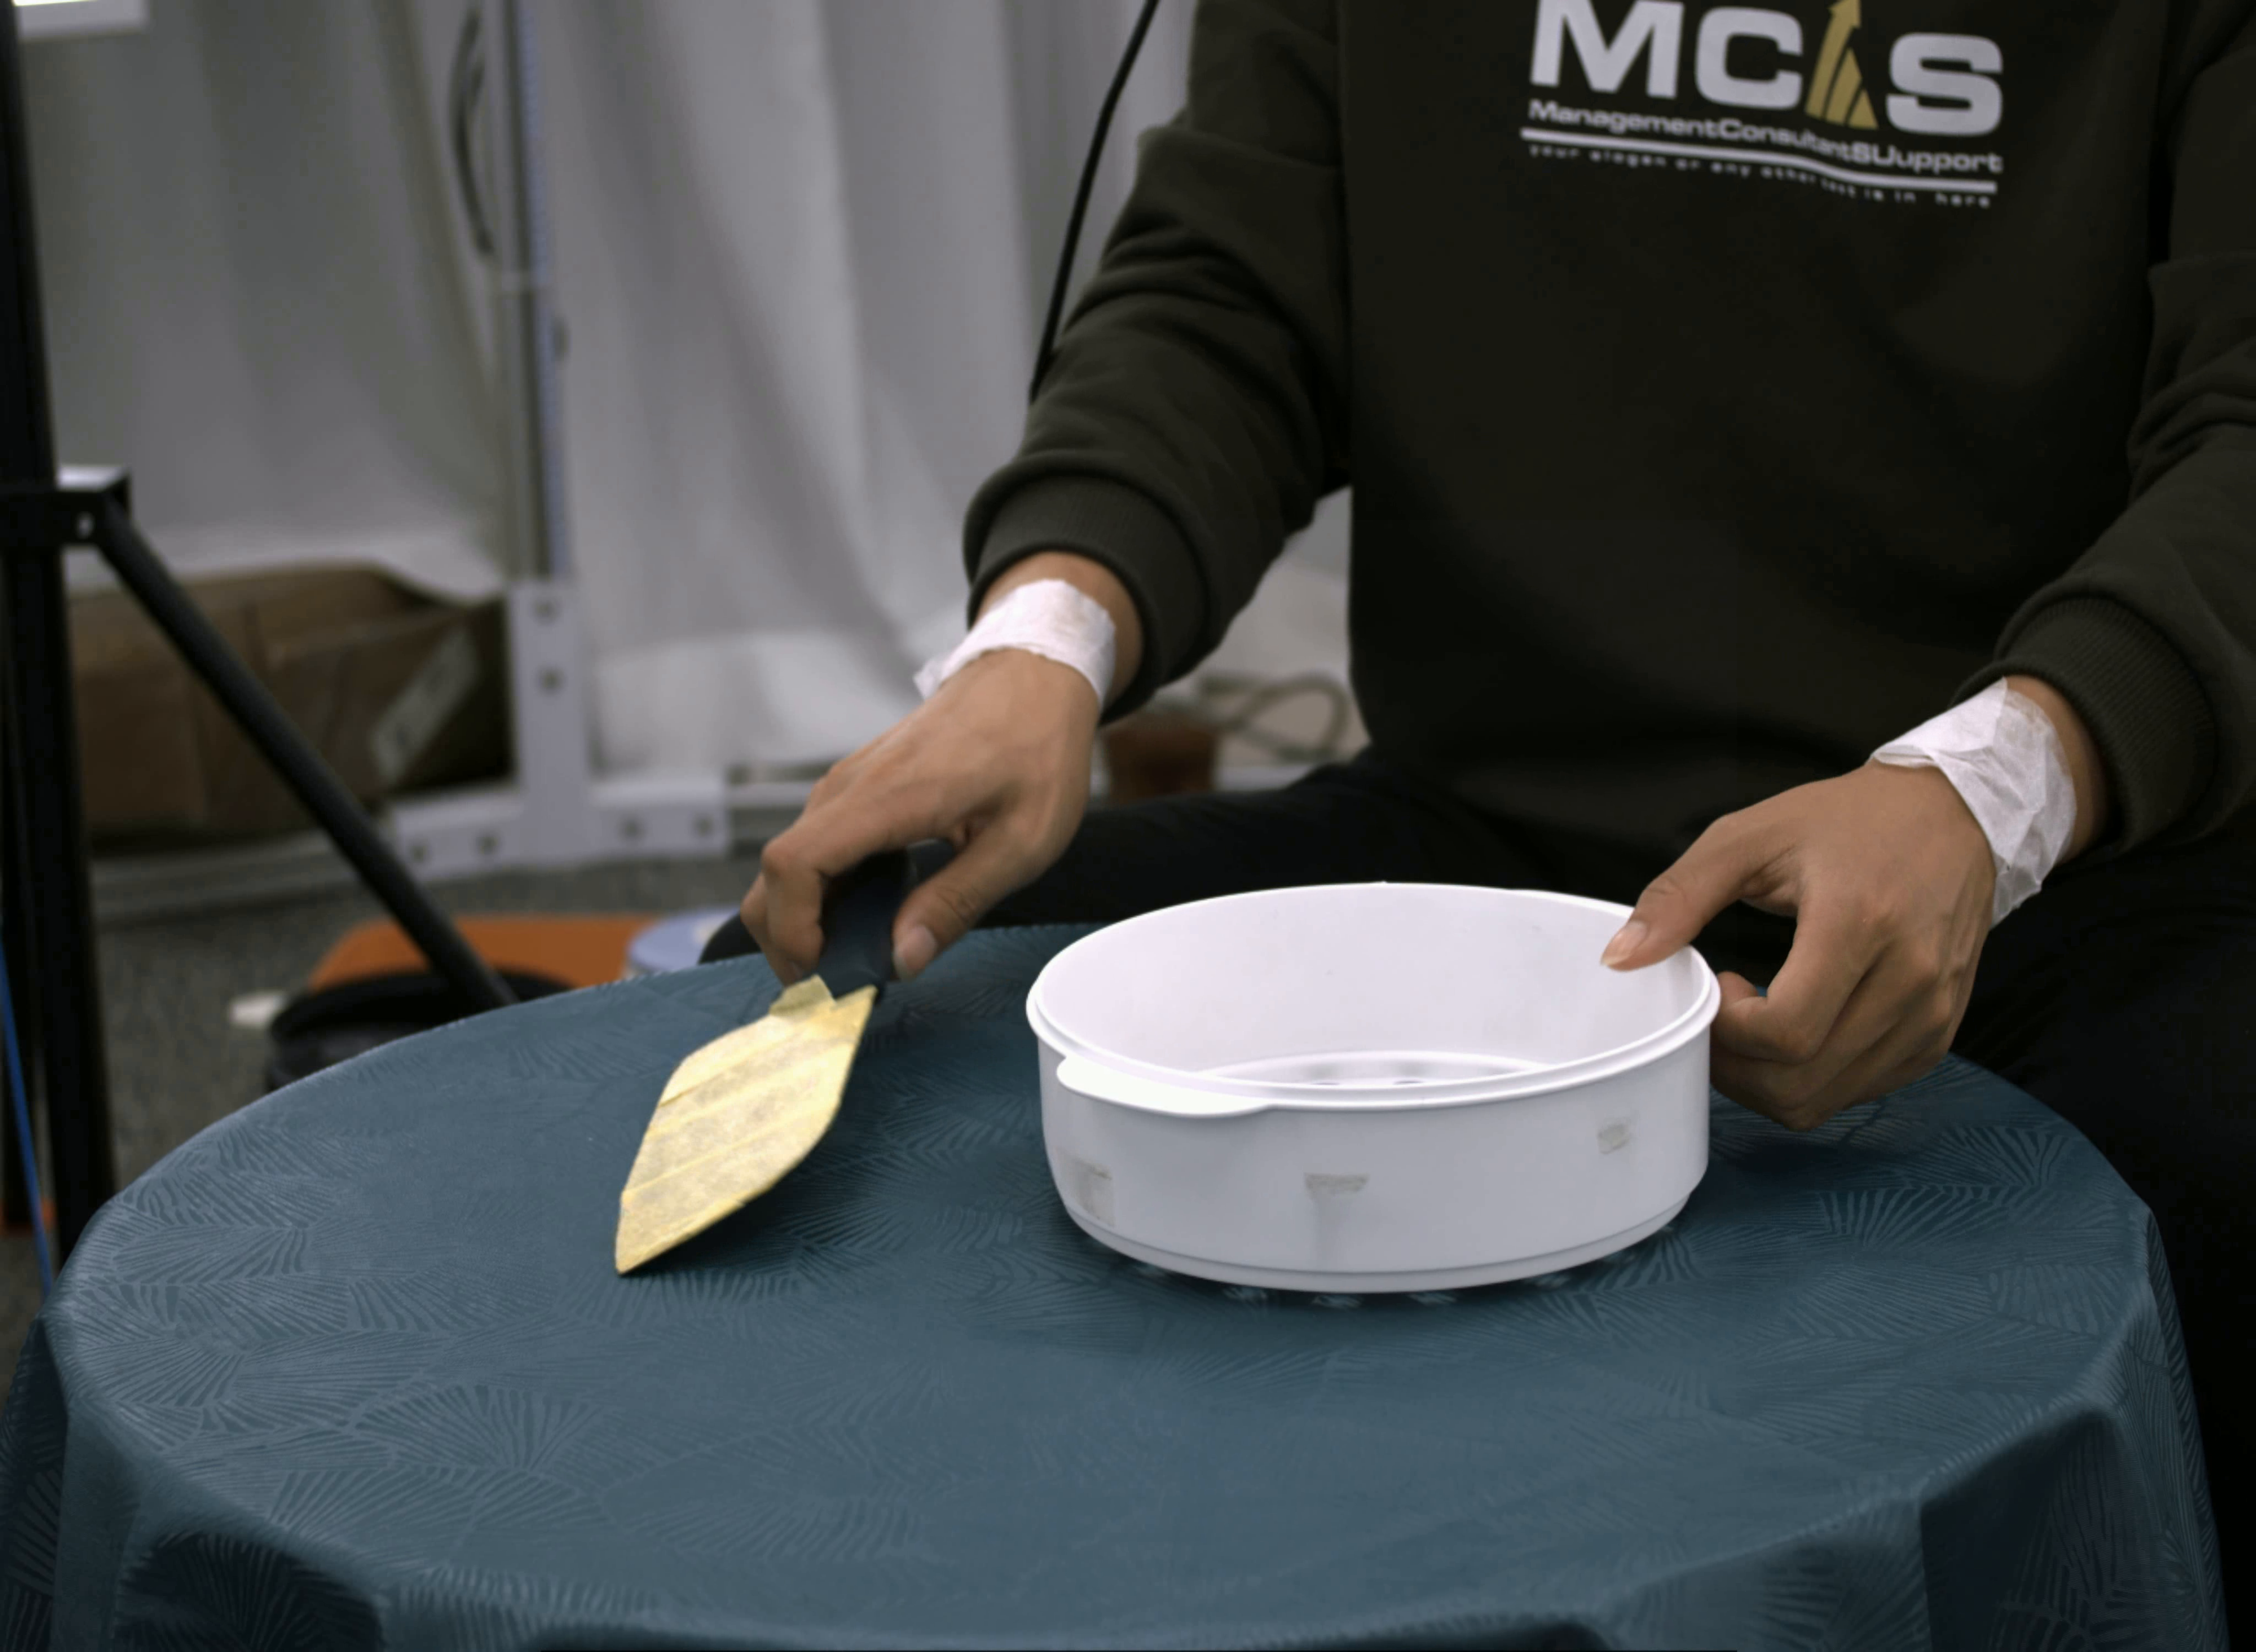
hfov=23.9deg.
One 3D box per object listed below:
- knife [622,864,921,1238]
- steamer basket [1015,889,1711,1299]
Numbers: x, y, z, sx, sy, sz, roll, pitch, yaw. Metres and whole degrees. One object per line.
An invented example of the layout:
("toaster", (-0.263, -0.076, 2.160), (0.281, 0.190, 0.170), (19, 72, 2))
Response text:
("knife", (-0.107, 0.069, 1.644), (0.081, 0.027, 0.289), (-20, 15, 14))
("steamer basket", (0.067, 0.078, 1.536), (0.206, 0.069, 0.225), (12, 20, 40))
